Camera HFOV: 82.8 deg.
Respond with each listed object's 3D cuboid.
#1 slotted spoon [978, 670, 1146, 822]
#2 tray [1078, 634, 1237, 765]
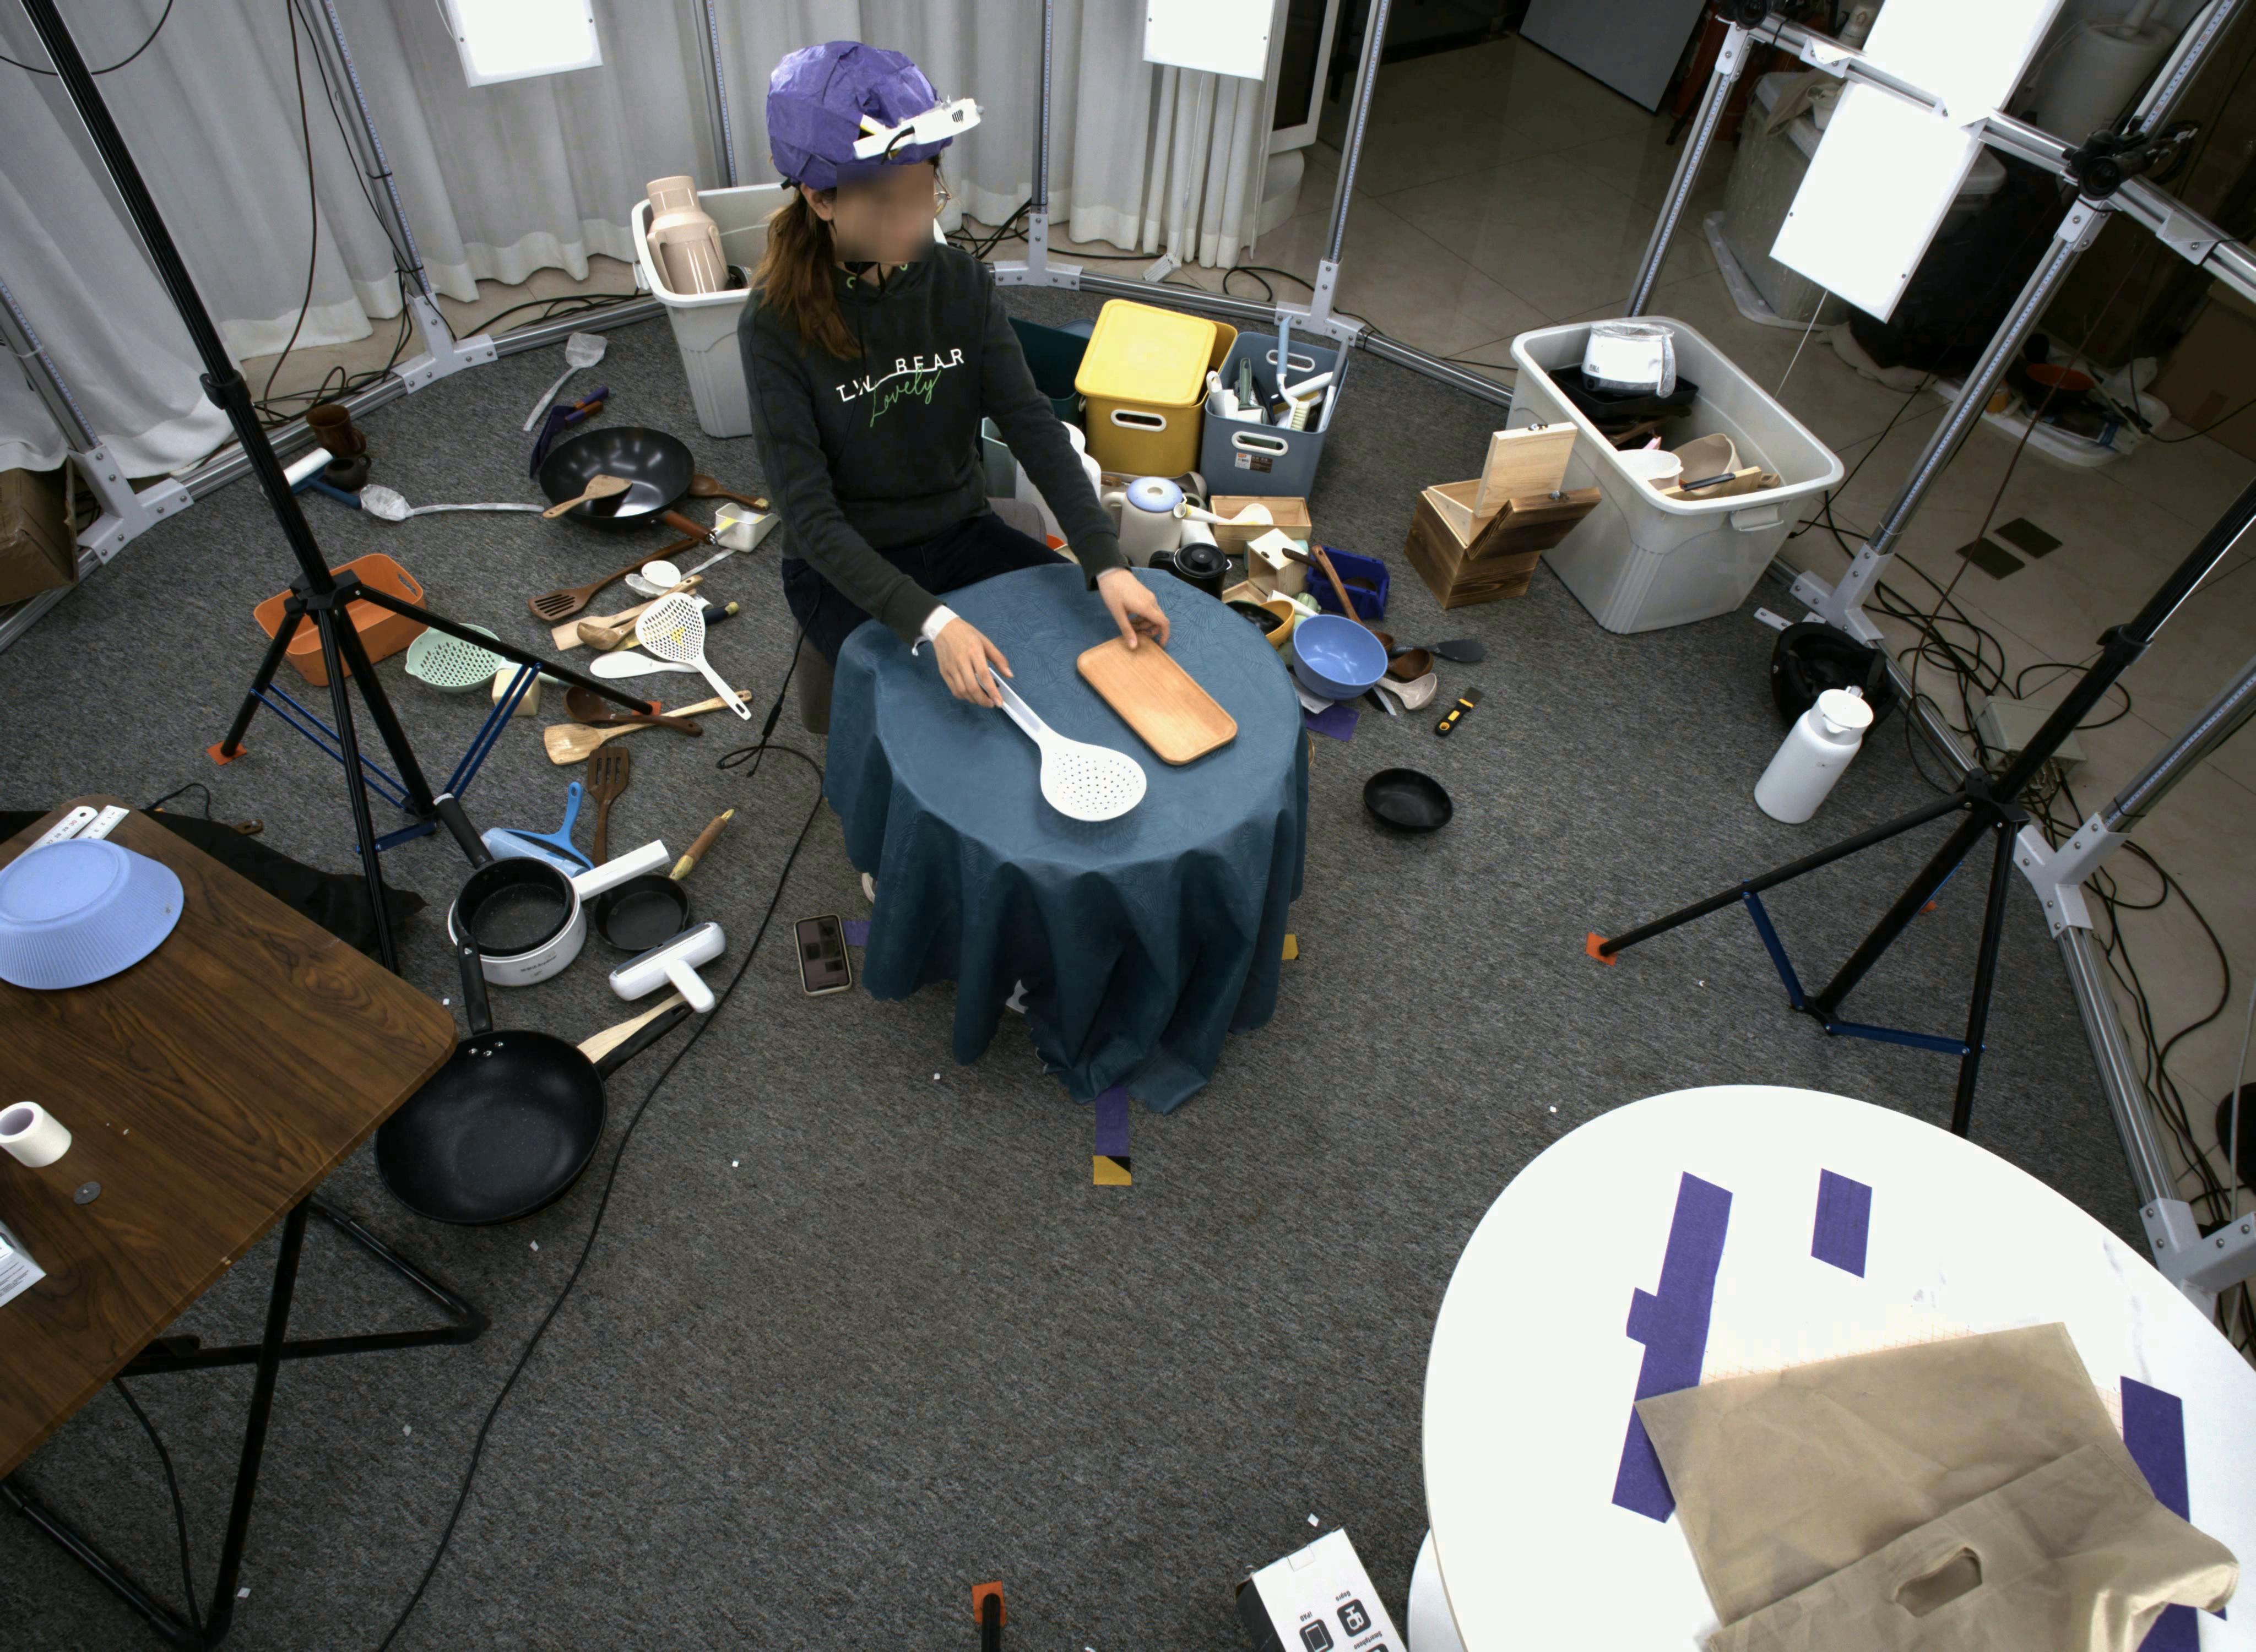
[{"bbox_3d":[-0.107,-0.115,1.747,0.136,0.044,0.356,-24,54,-25],"label":"slotted spoon"},{"bbox_3d":[0.040,-0.183,1.836,0.131,0.022,0.255,-25,54,-25],"label":"tray"}]
